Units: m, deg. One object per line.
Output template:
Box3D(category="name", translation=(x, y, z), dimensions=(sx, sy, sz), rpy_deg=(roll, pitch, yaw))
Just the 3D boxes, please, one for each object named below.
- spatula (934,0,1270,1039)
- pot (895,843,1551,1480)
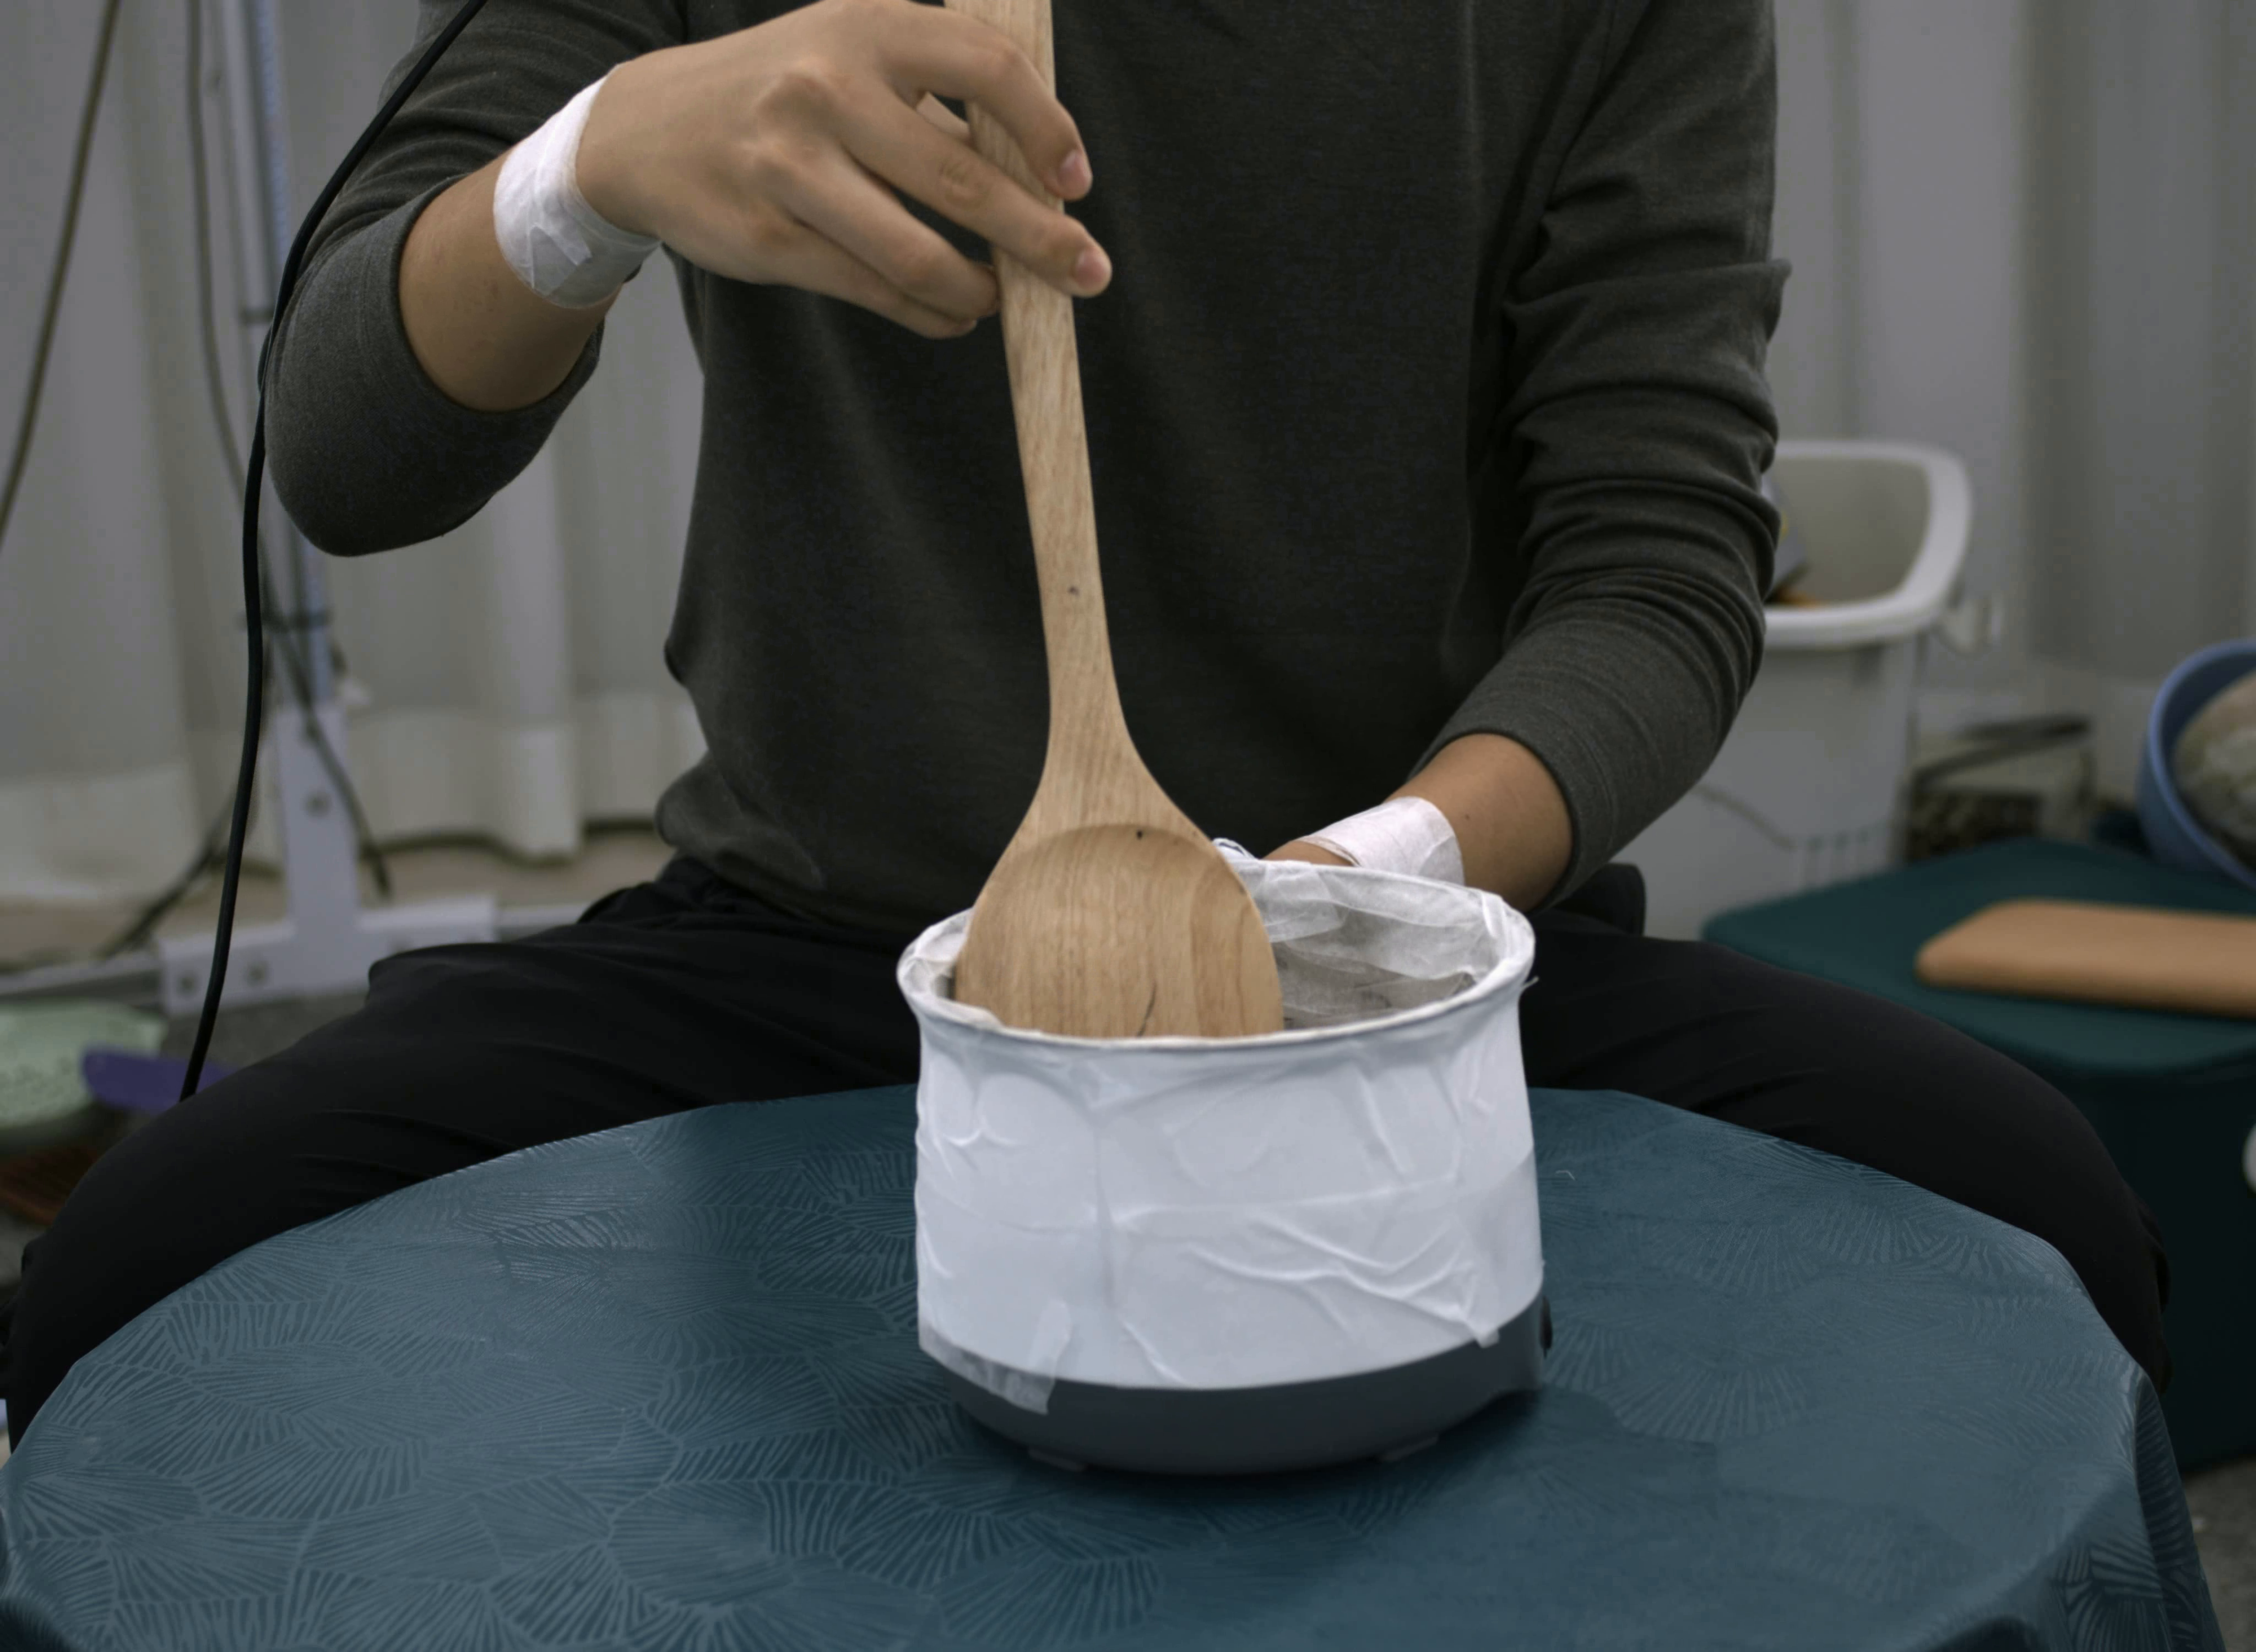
Box3D(category="spatula", translation=(-0.026, -0.099, 1.518), dimensions=(0.095, 0.390, 0.018), rpy_deg=(-7, 8, -4))
Box3D(category="pot", translation=(0.028, 0.089, 1.549), dimensions=(0.178, 0.136, 0.235), rpy_deg=(-2, 14, 2))
